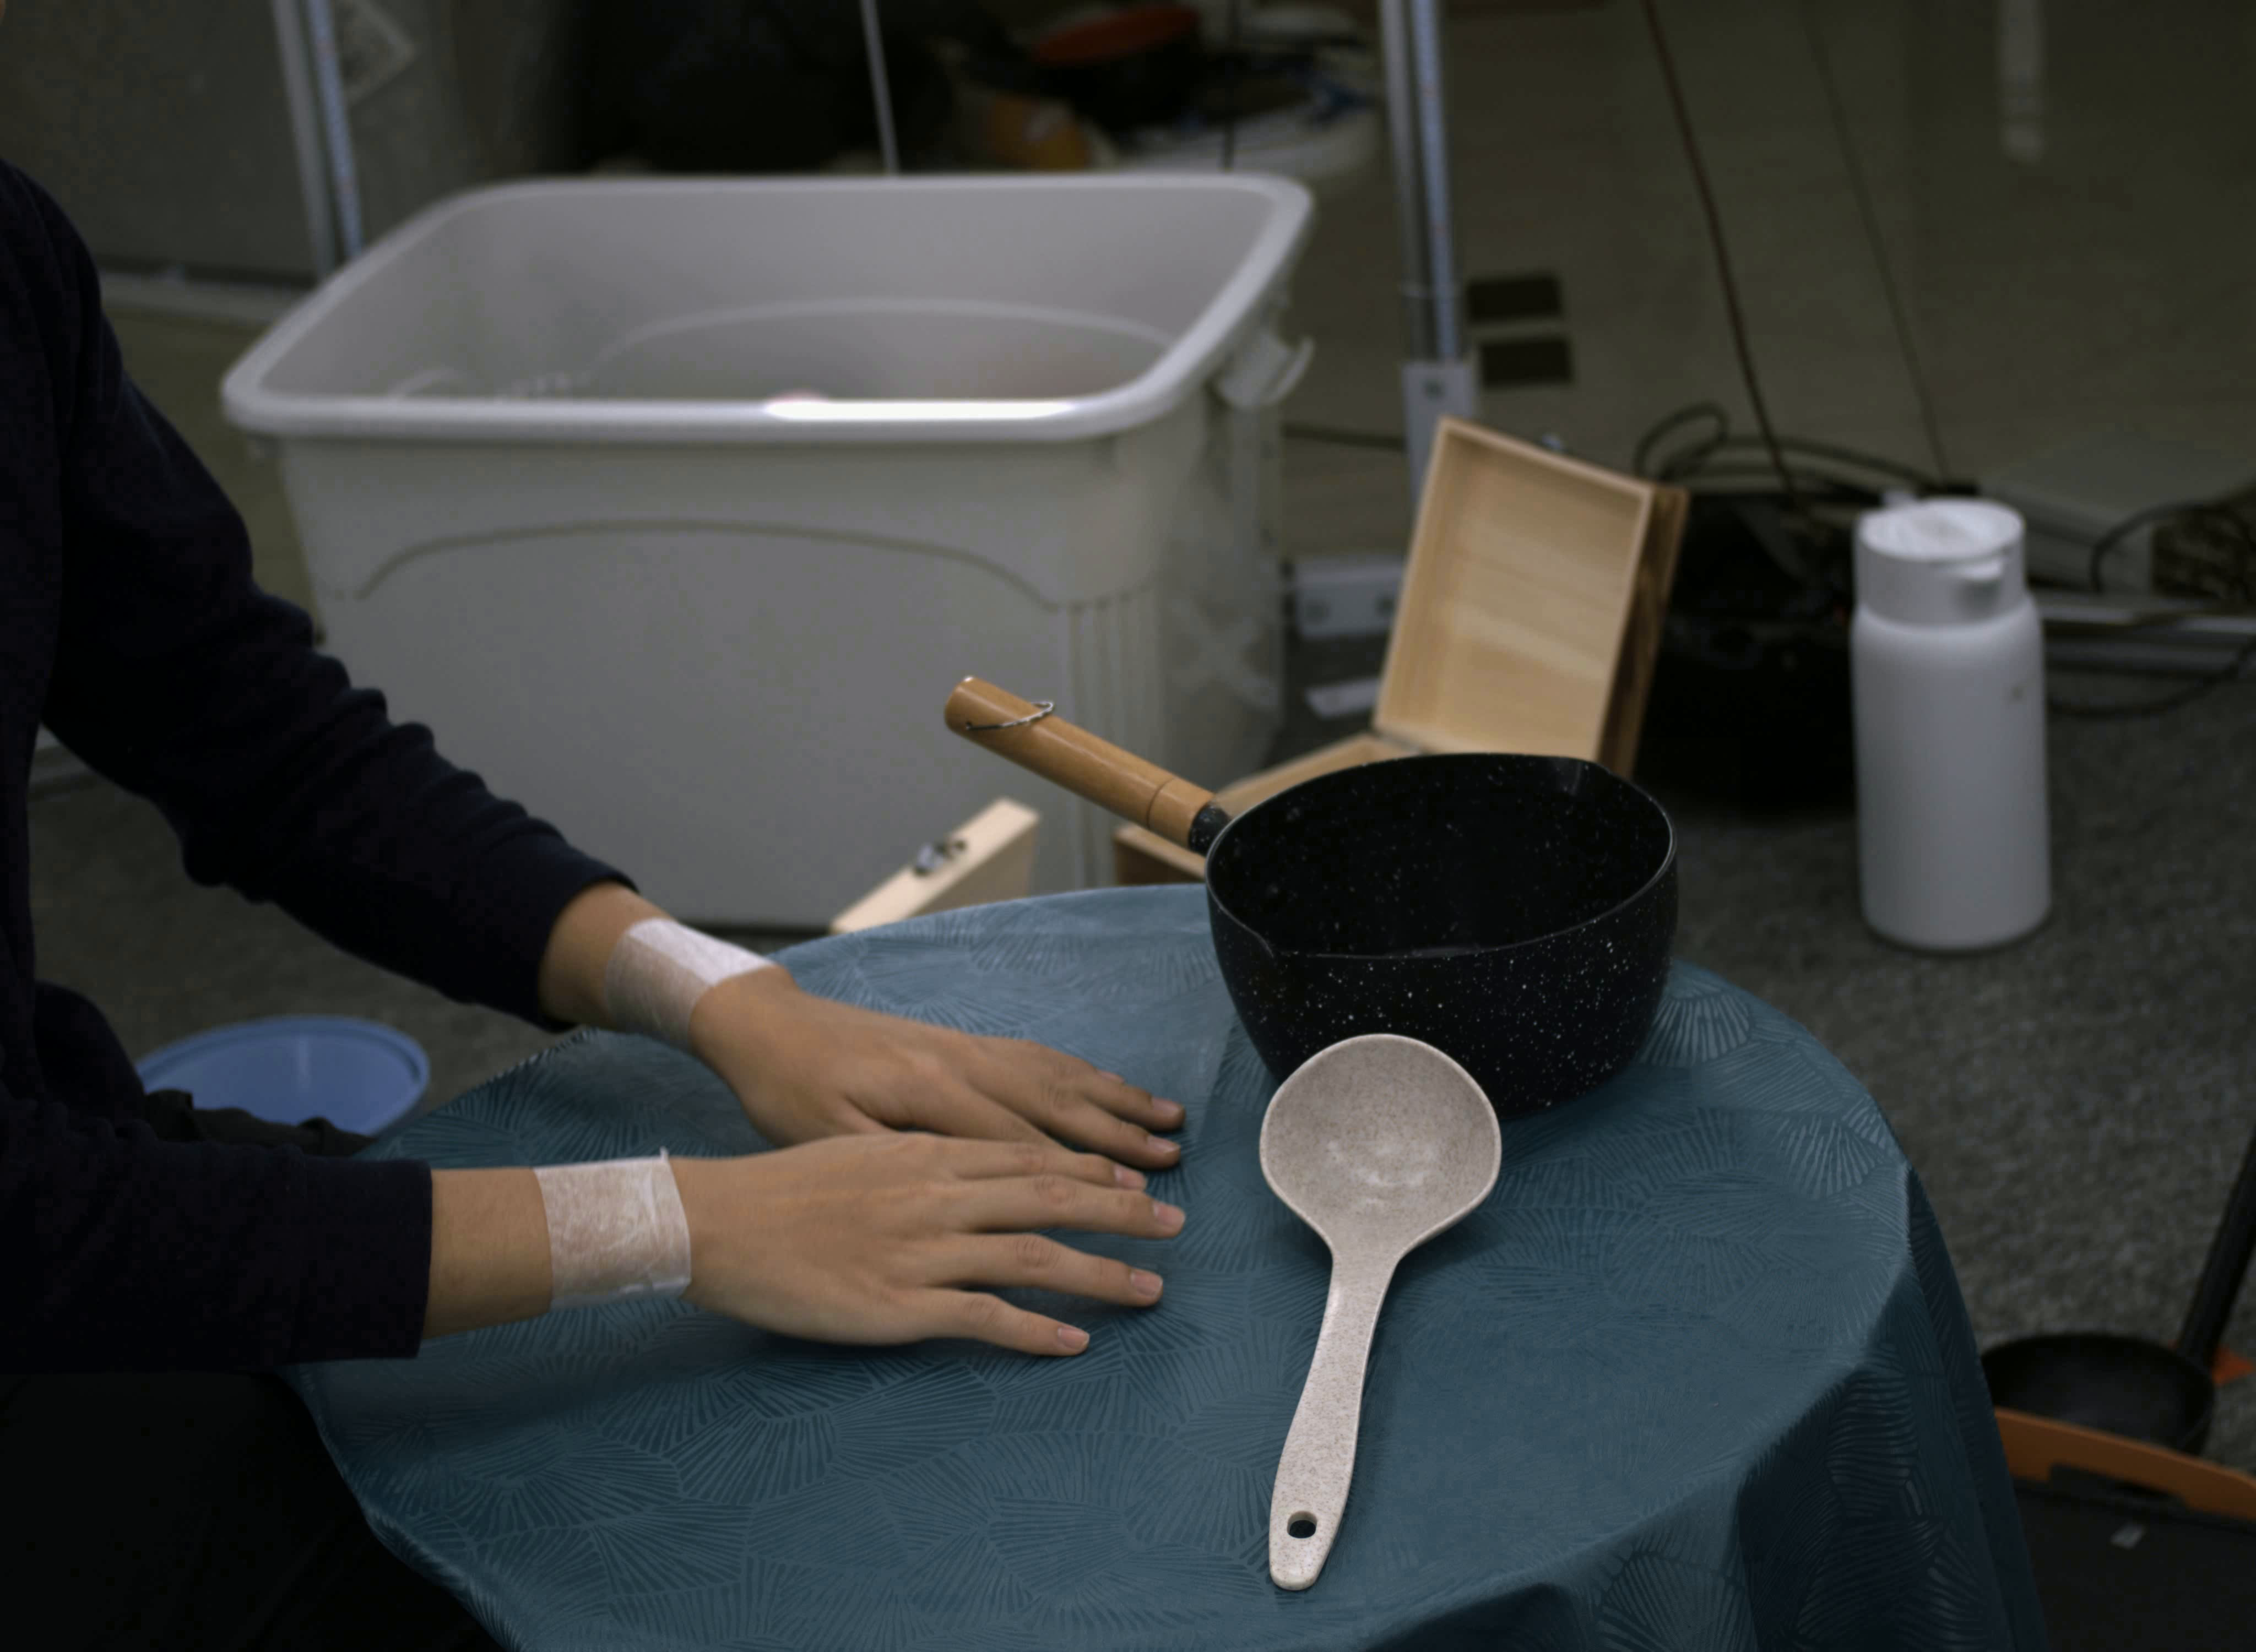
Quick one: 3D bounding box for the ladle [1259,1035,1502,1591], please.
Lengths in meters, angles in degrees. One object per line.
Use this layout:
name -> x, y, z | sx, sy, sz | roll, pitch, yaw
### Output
ladle -> 0.077, 0.165, 1.992 | 0.089, 0.070, 0.271 | 8, 27, 5

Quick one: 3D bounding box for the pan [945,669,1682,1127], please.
pan -> 0.062, 0.021, 2.254 | 0.340, 0.110, 0.205 | 15, 34, 36
